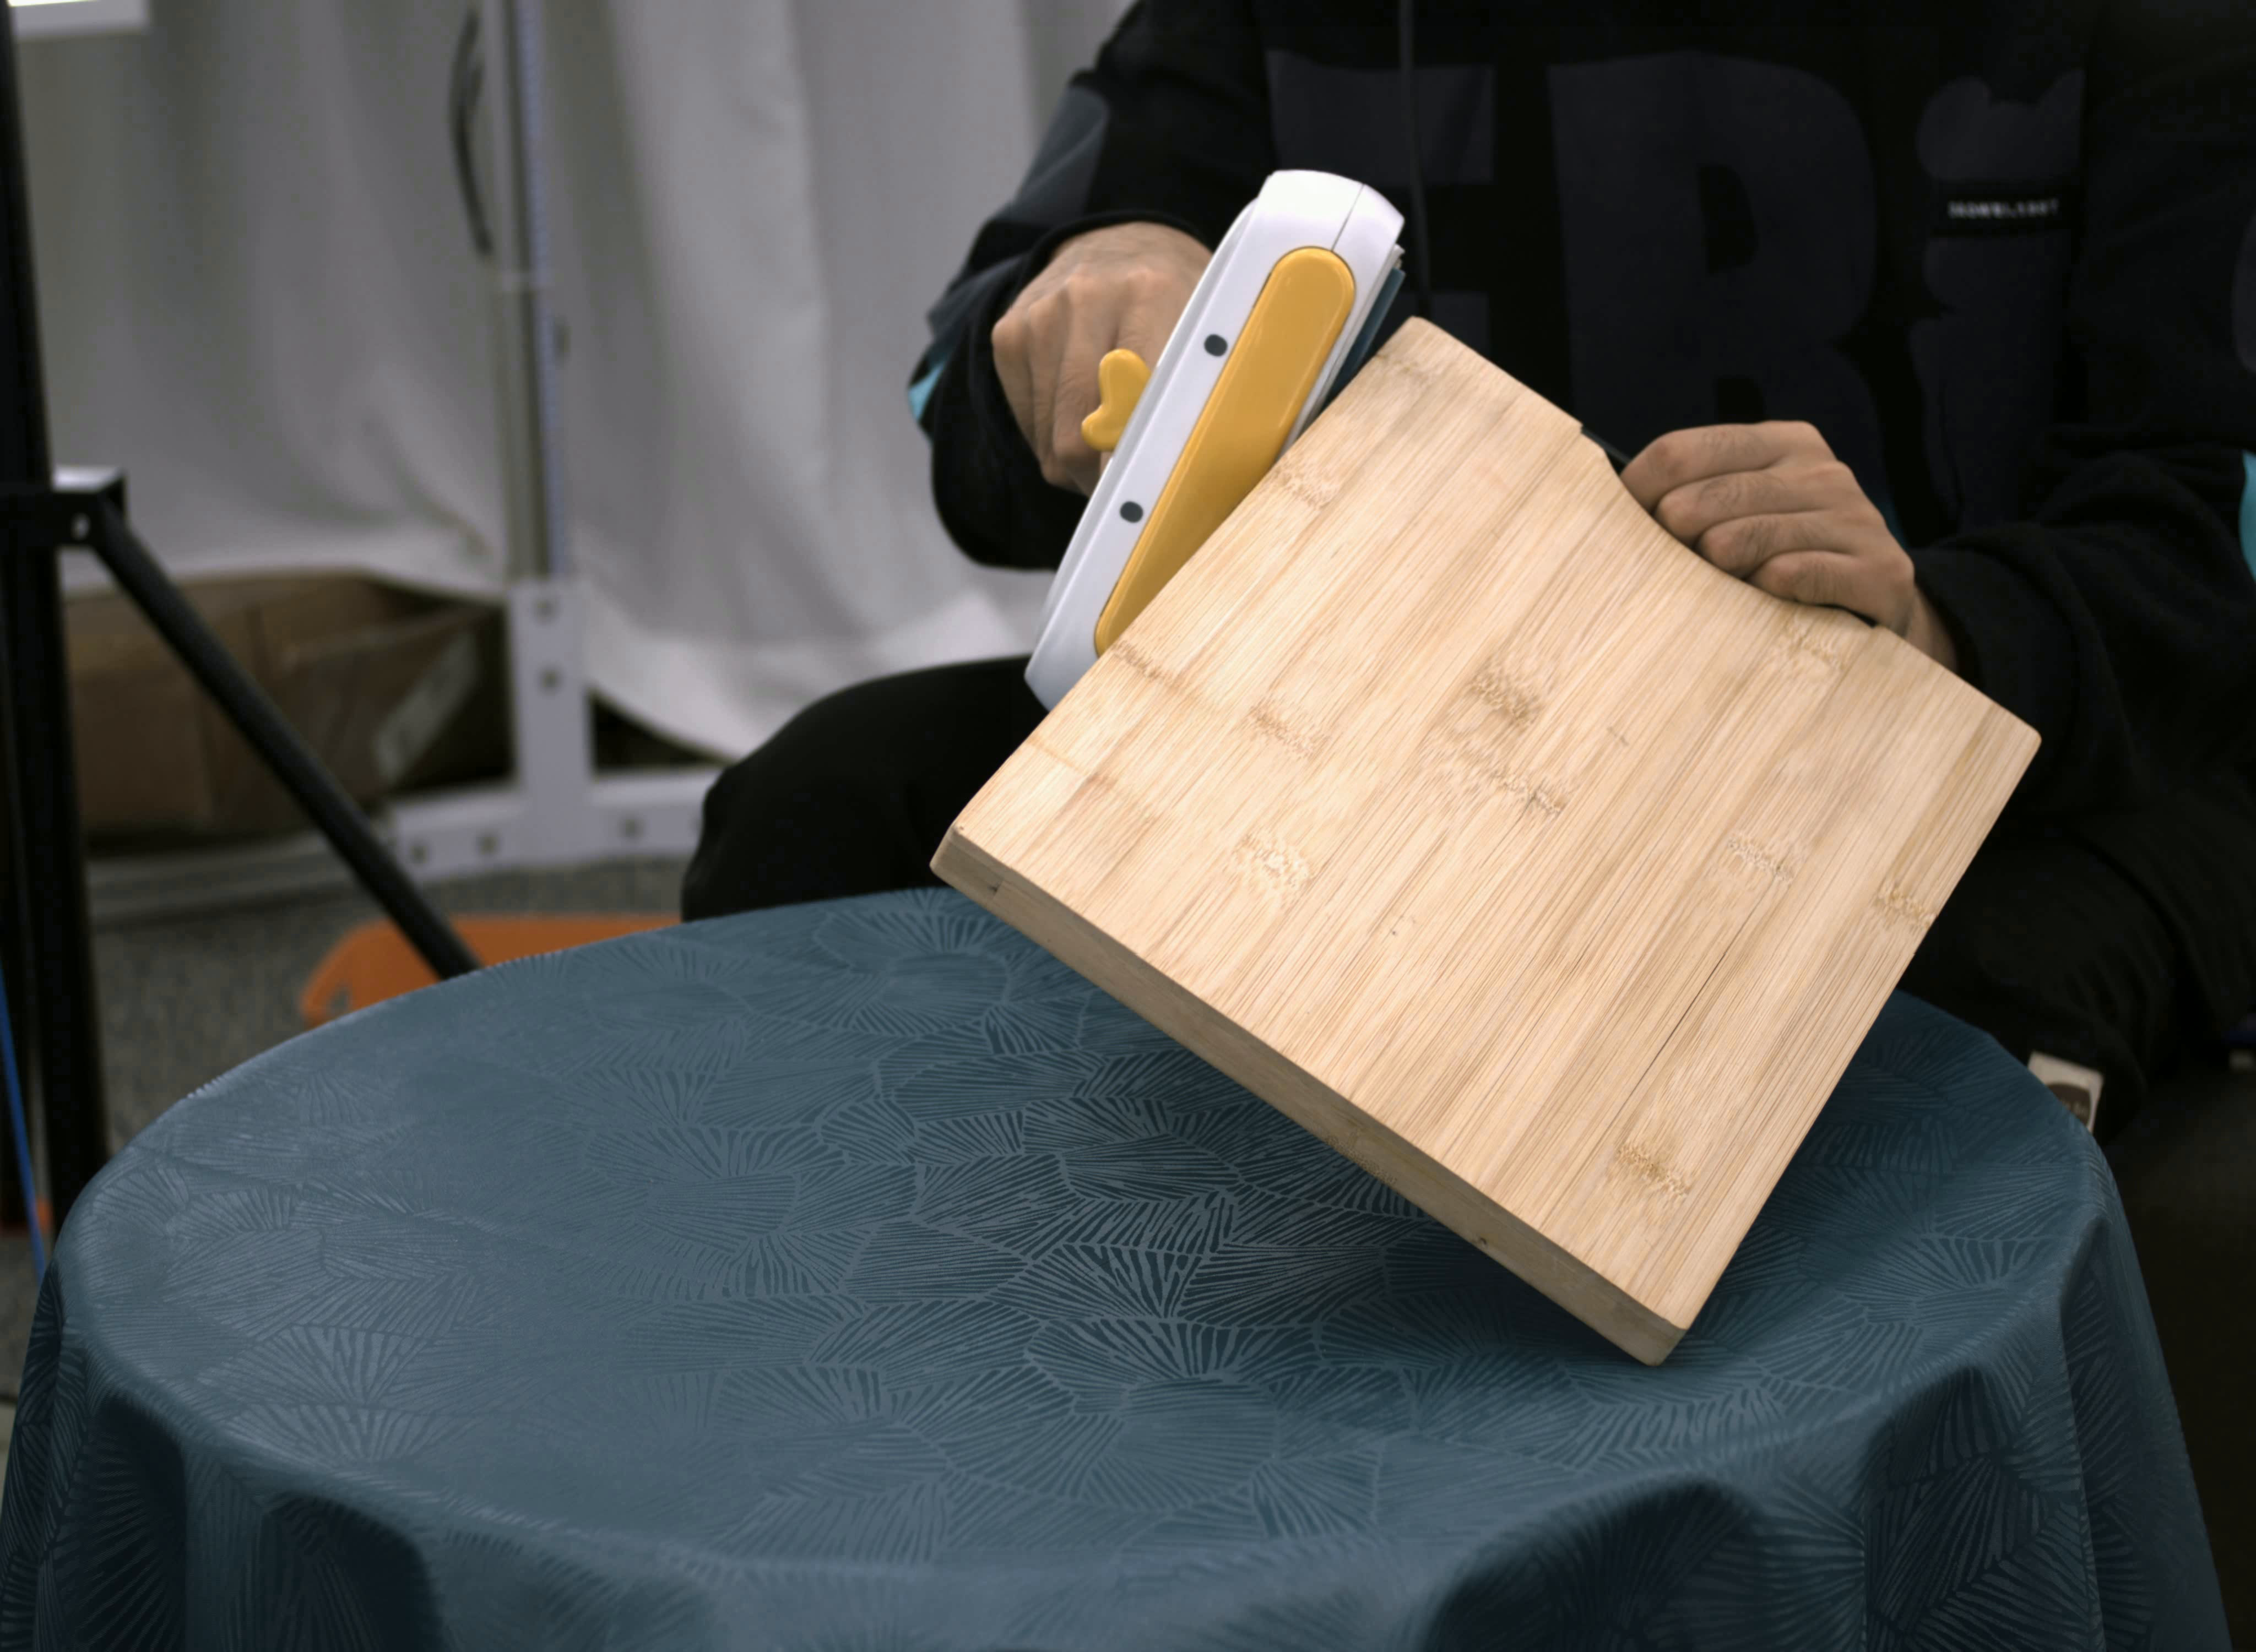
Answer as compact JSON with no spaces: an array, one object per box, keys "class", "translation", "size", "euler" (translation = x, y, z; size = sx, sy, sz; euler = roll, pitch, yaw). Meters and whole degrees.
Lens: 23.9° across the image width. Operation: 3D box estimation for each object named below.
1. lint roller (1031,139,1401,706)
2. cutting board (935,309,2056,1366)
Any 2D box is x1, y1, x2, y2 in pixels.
[{"class":"lint roller","translation":[0.013,-0.129,1.718],"size":[0.073,0.193,0.194],"euler":[21,1,-9]},{"class":"cutting board","translation":[0.118,-0.010,1.548],"size":[0.251,0.024,0.345],"euler":[34,39,6]}]
